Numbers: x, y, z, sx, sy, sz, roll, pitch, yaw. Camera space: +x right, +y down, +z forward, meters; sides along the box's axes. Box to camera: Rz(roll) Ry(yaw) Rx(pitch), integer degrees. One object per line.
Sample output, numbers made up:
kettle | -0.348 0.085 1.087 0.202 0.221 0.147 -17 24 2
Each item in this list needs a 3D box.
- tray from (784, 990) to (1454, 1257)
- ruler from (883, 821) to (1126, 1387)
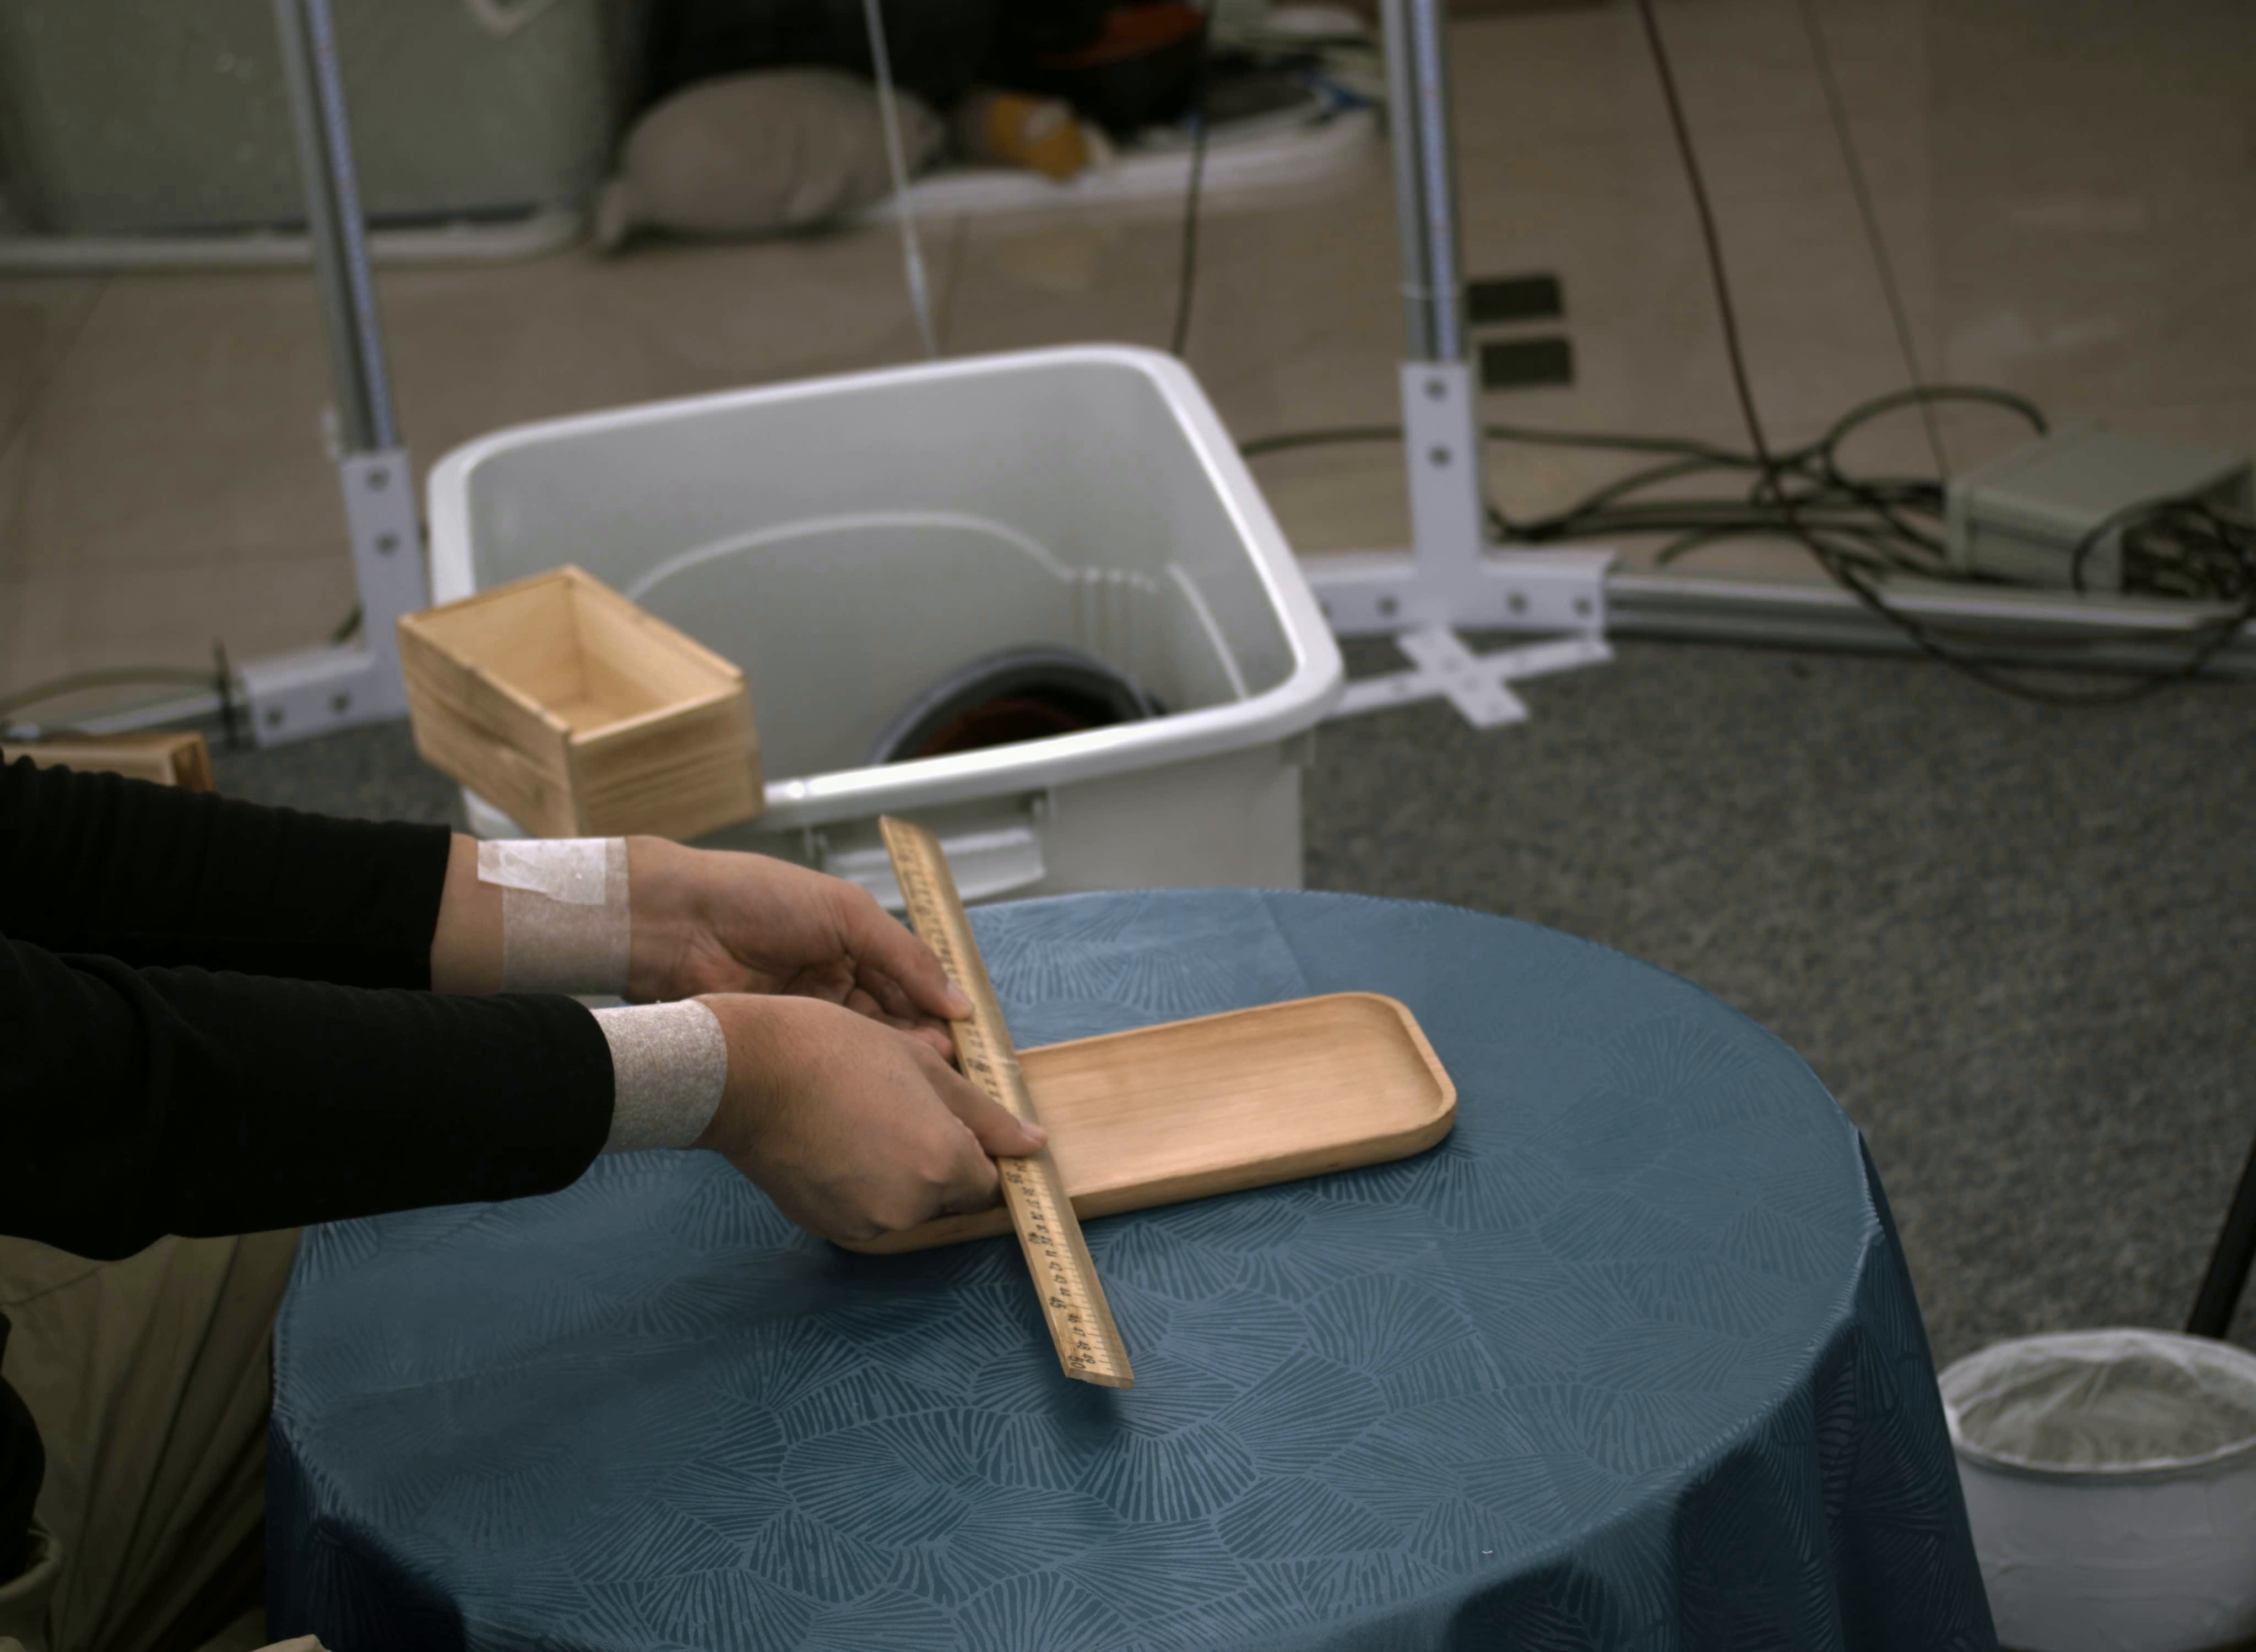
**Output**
tray | -0.004 0.114 2.183 0.250 0.023 0.129 -11 23 -6
ruler | -0.053 0.096 2.201 0.027 0.006 0.493 11 21 -14
